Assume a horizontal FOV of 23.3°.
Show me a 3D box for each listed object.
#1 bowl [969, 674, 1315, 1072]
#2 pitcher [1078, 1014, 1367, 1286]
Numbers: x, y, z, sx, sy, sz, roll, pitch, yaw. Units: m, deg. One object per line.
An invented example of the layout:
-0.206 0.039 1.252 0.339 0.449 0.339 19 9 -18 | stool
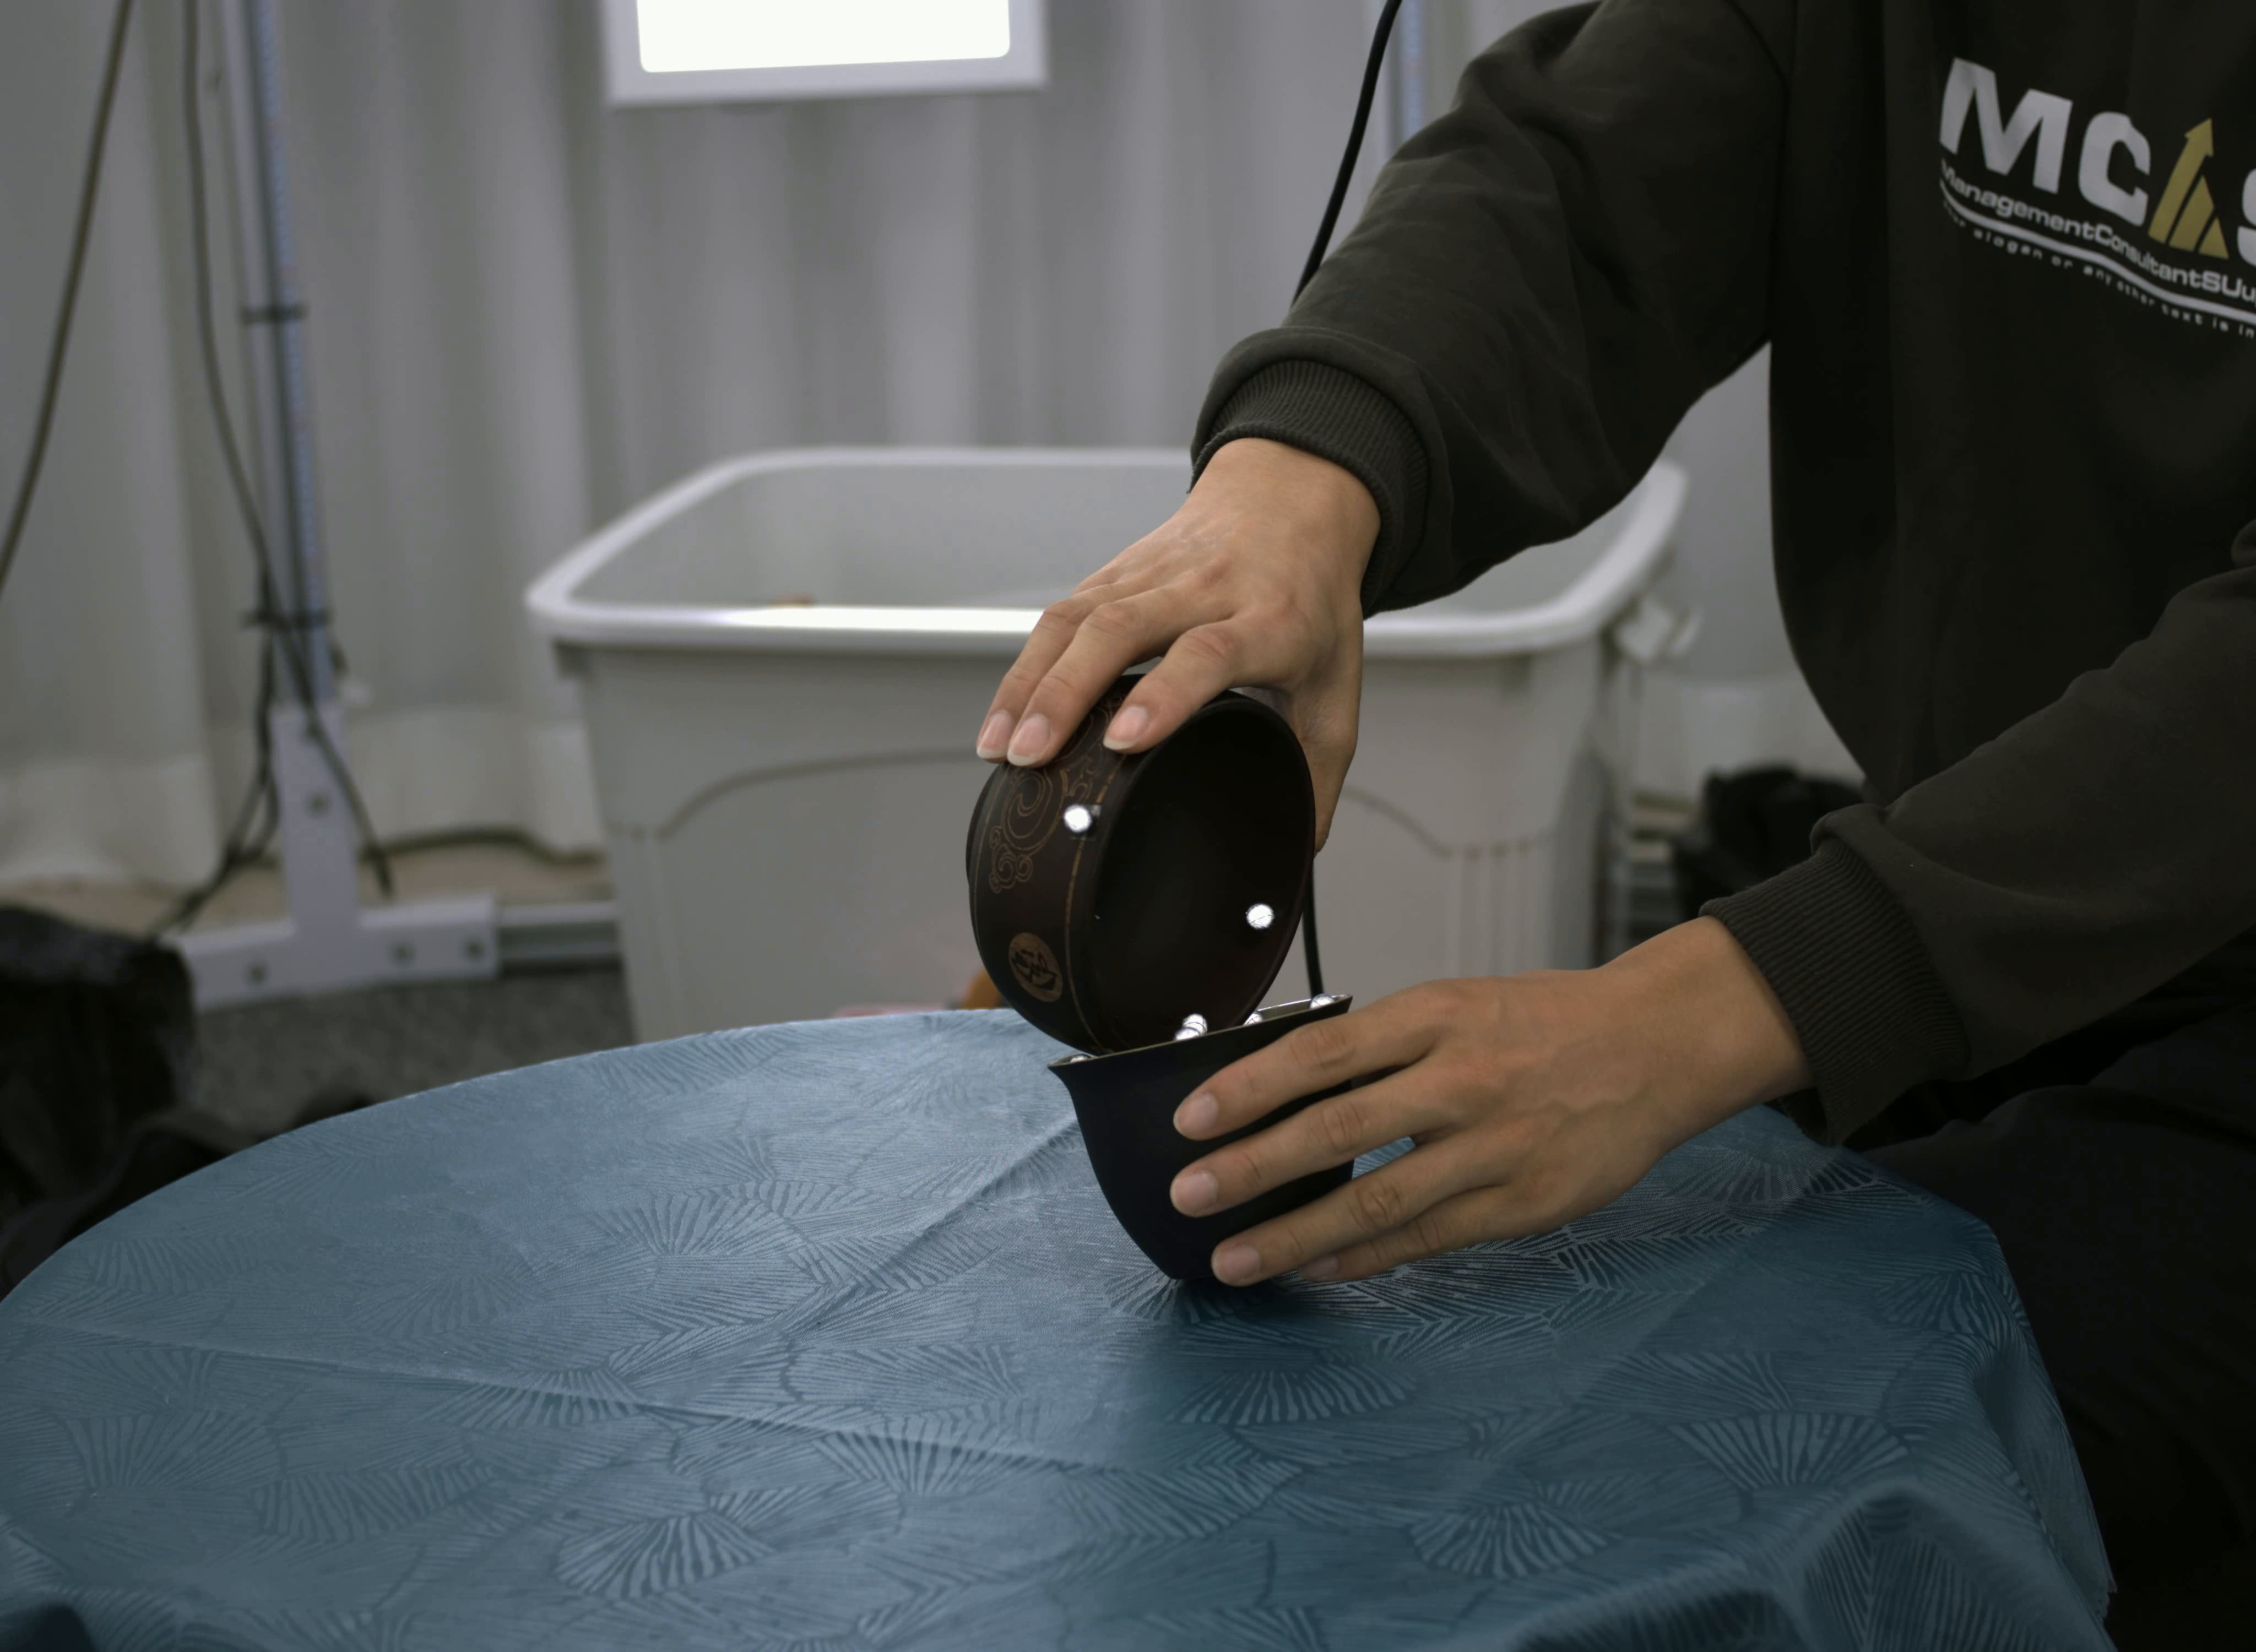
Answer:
-0.004 0.011 1.640 0.070 0.117 0.118 13 21 34 | bowl
0.030 0.096 1.628 0.083 0.071 0.096 -17 -1 -30 | pitcher
